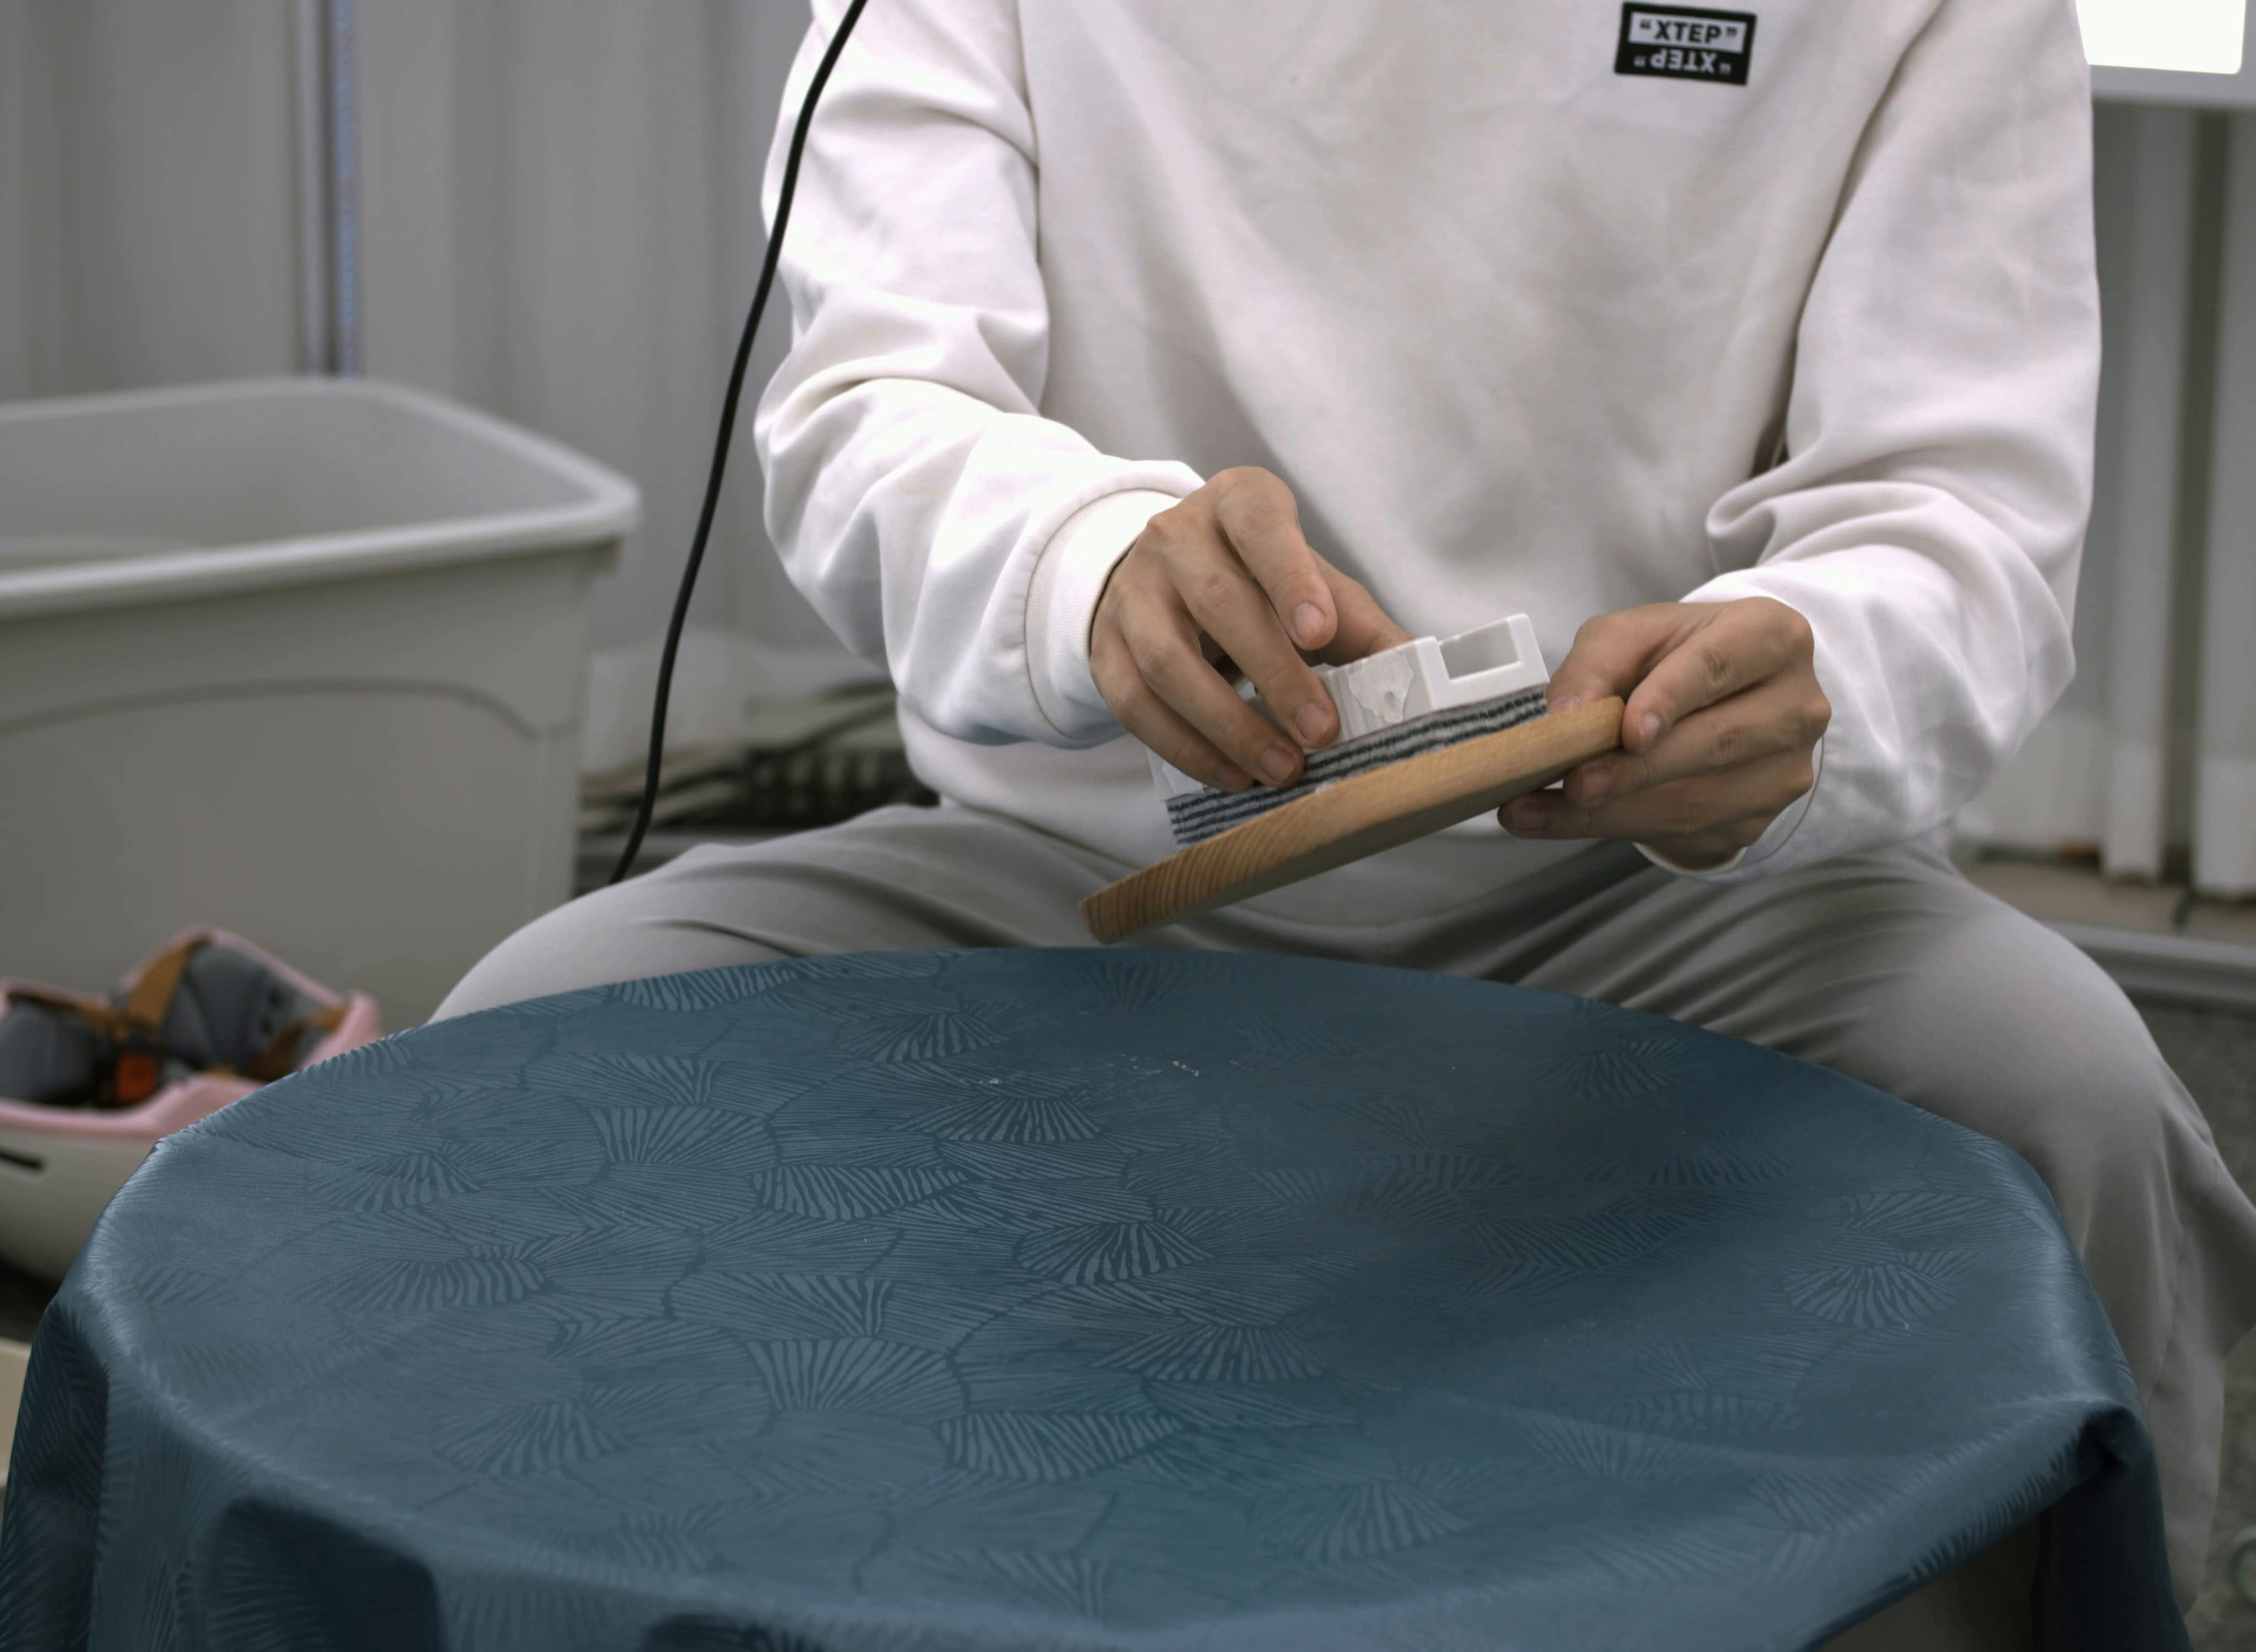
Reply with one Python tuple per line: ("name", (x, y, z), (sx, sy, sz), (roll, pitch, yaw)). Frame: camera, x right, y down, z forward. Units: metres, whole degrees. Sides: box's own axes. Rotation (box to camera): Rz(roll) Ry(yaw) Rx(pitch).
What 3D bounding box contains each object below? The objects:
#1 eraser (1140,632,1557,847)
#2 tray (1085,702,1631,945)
("eraser", (0.068, -0.026, 1.626), (0.050, 0.046, 0.133), (-9, -3, -43))
("tray", (0.072, -0.001, 1.556), (0.101, 0.020, 0.232), (-24, -5, 34))
